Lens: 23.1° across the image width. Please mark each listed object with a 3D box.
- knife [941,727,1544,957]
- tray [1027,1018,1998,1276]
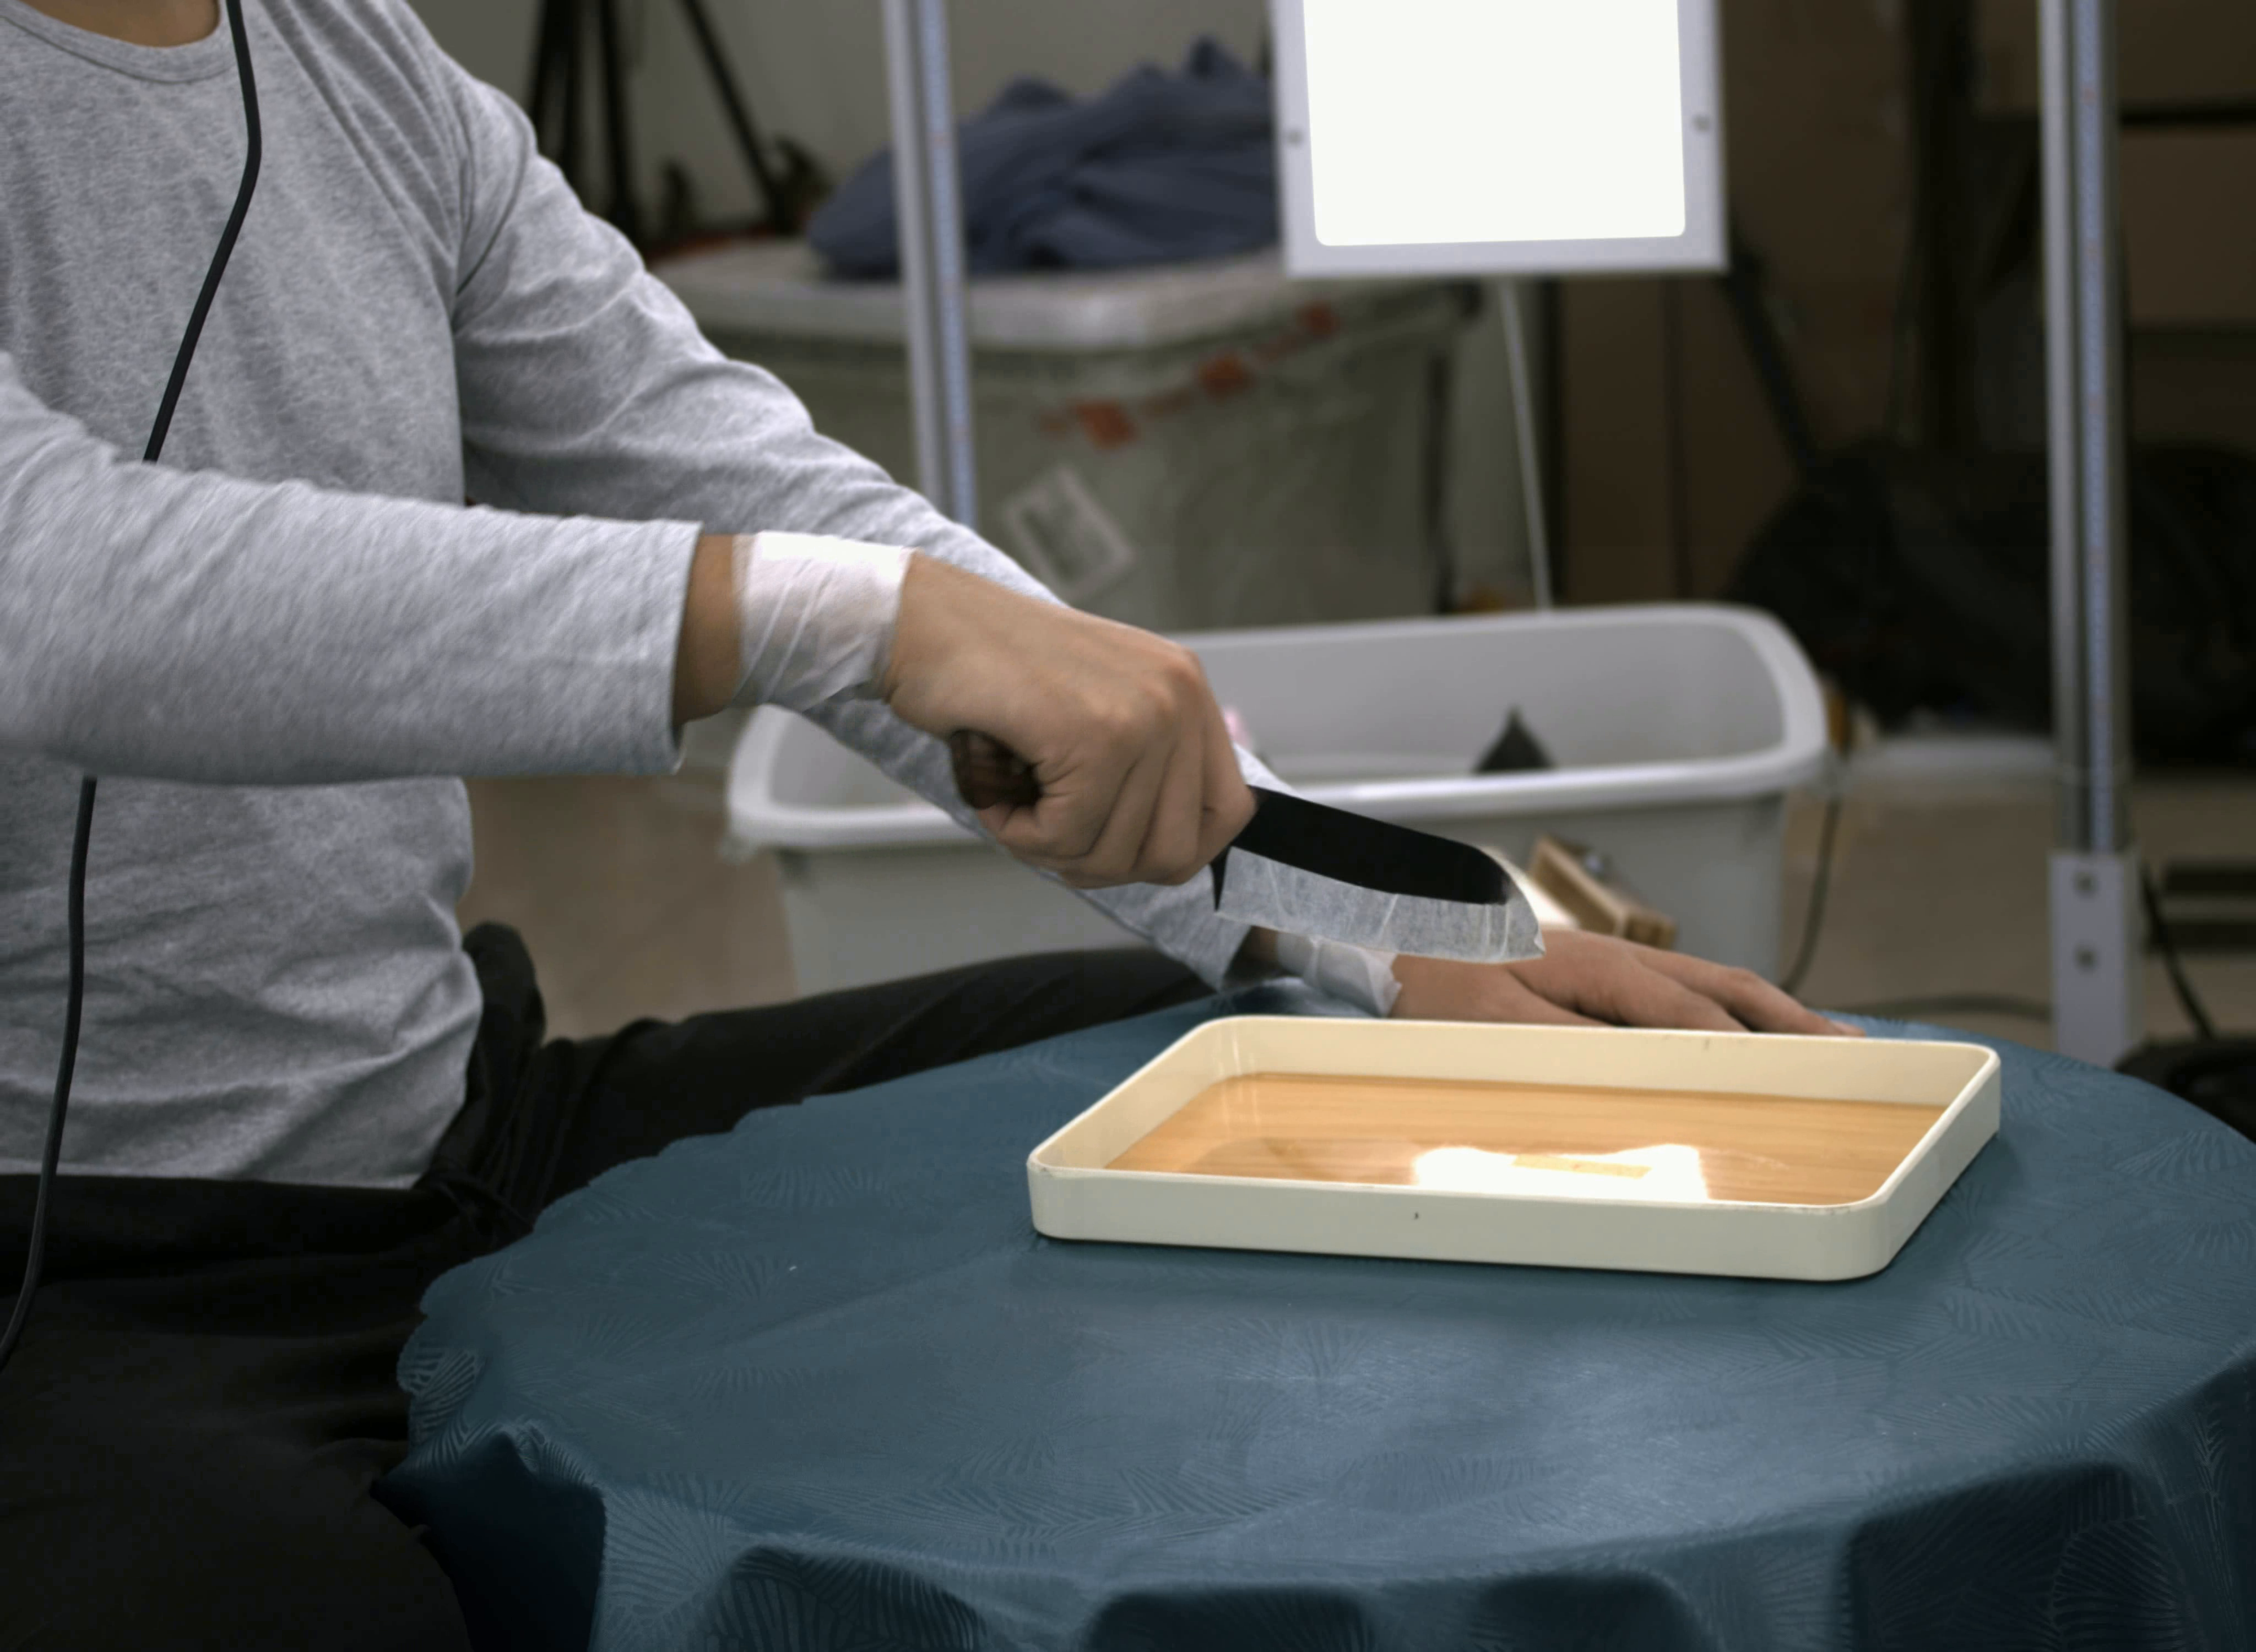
[{"bbox_3d":[0.045,0.007,1.773,0.282,0.050,0.020,16,-8,-44],"label":"knife"},{"bbox_3d":[0.134,0.108,1.877,0.305,0.027,0.188,1,15,25],"label":"tray"}]
